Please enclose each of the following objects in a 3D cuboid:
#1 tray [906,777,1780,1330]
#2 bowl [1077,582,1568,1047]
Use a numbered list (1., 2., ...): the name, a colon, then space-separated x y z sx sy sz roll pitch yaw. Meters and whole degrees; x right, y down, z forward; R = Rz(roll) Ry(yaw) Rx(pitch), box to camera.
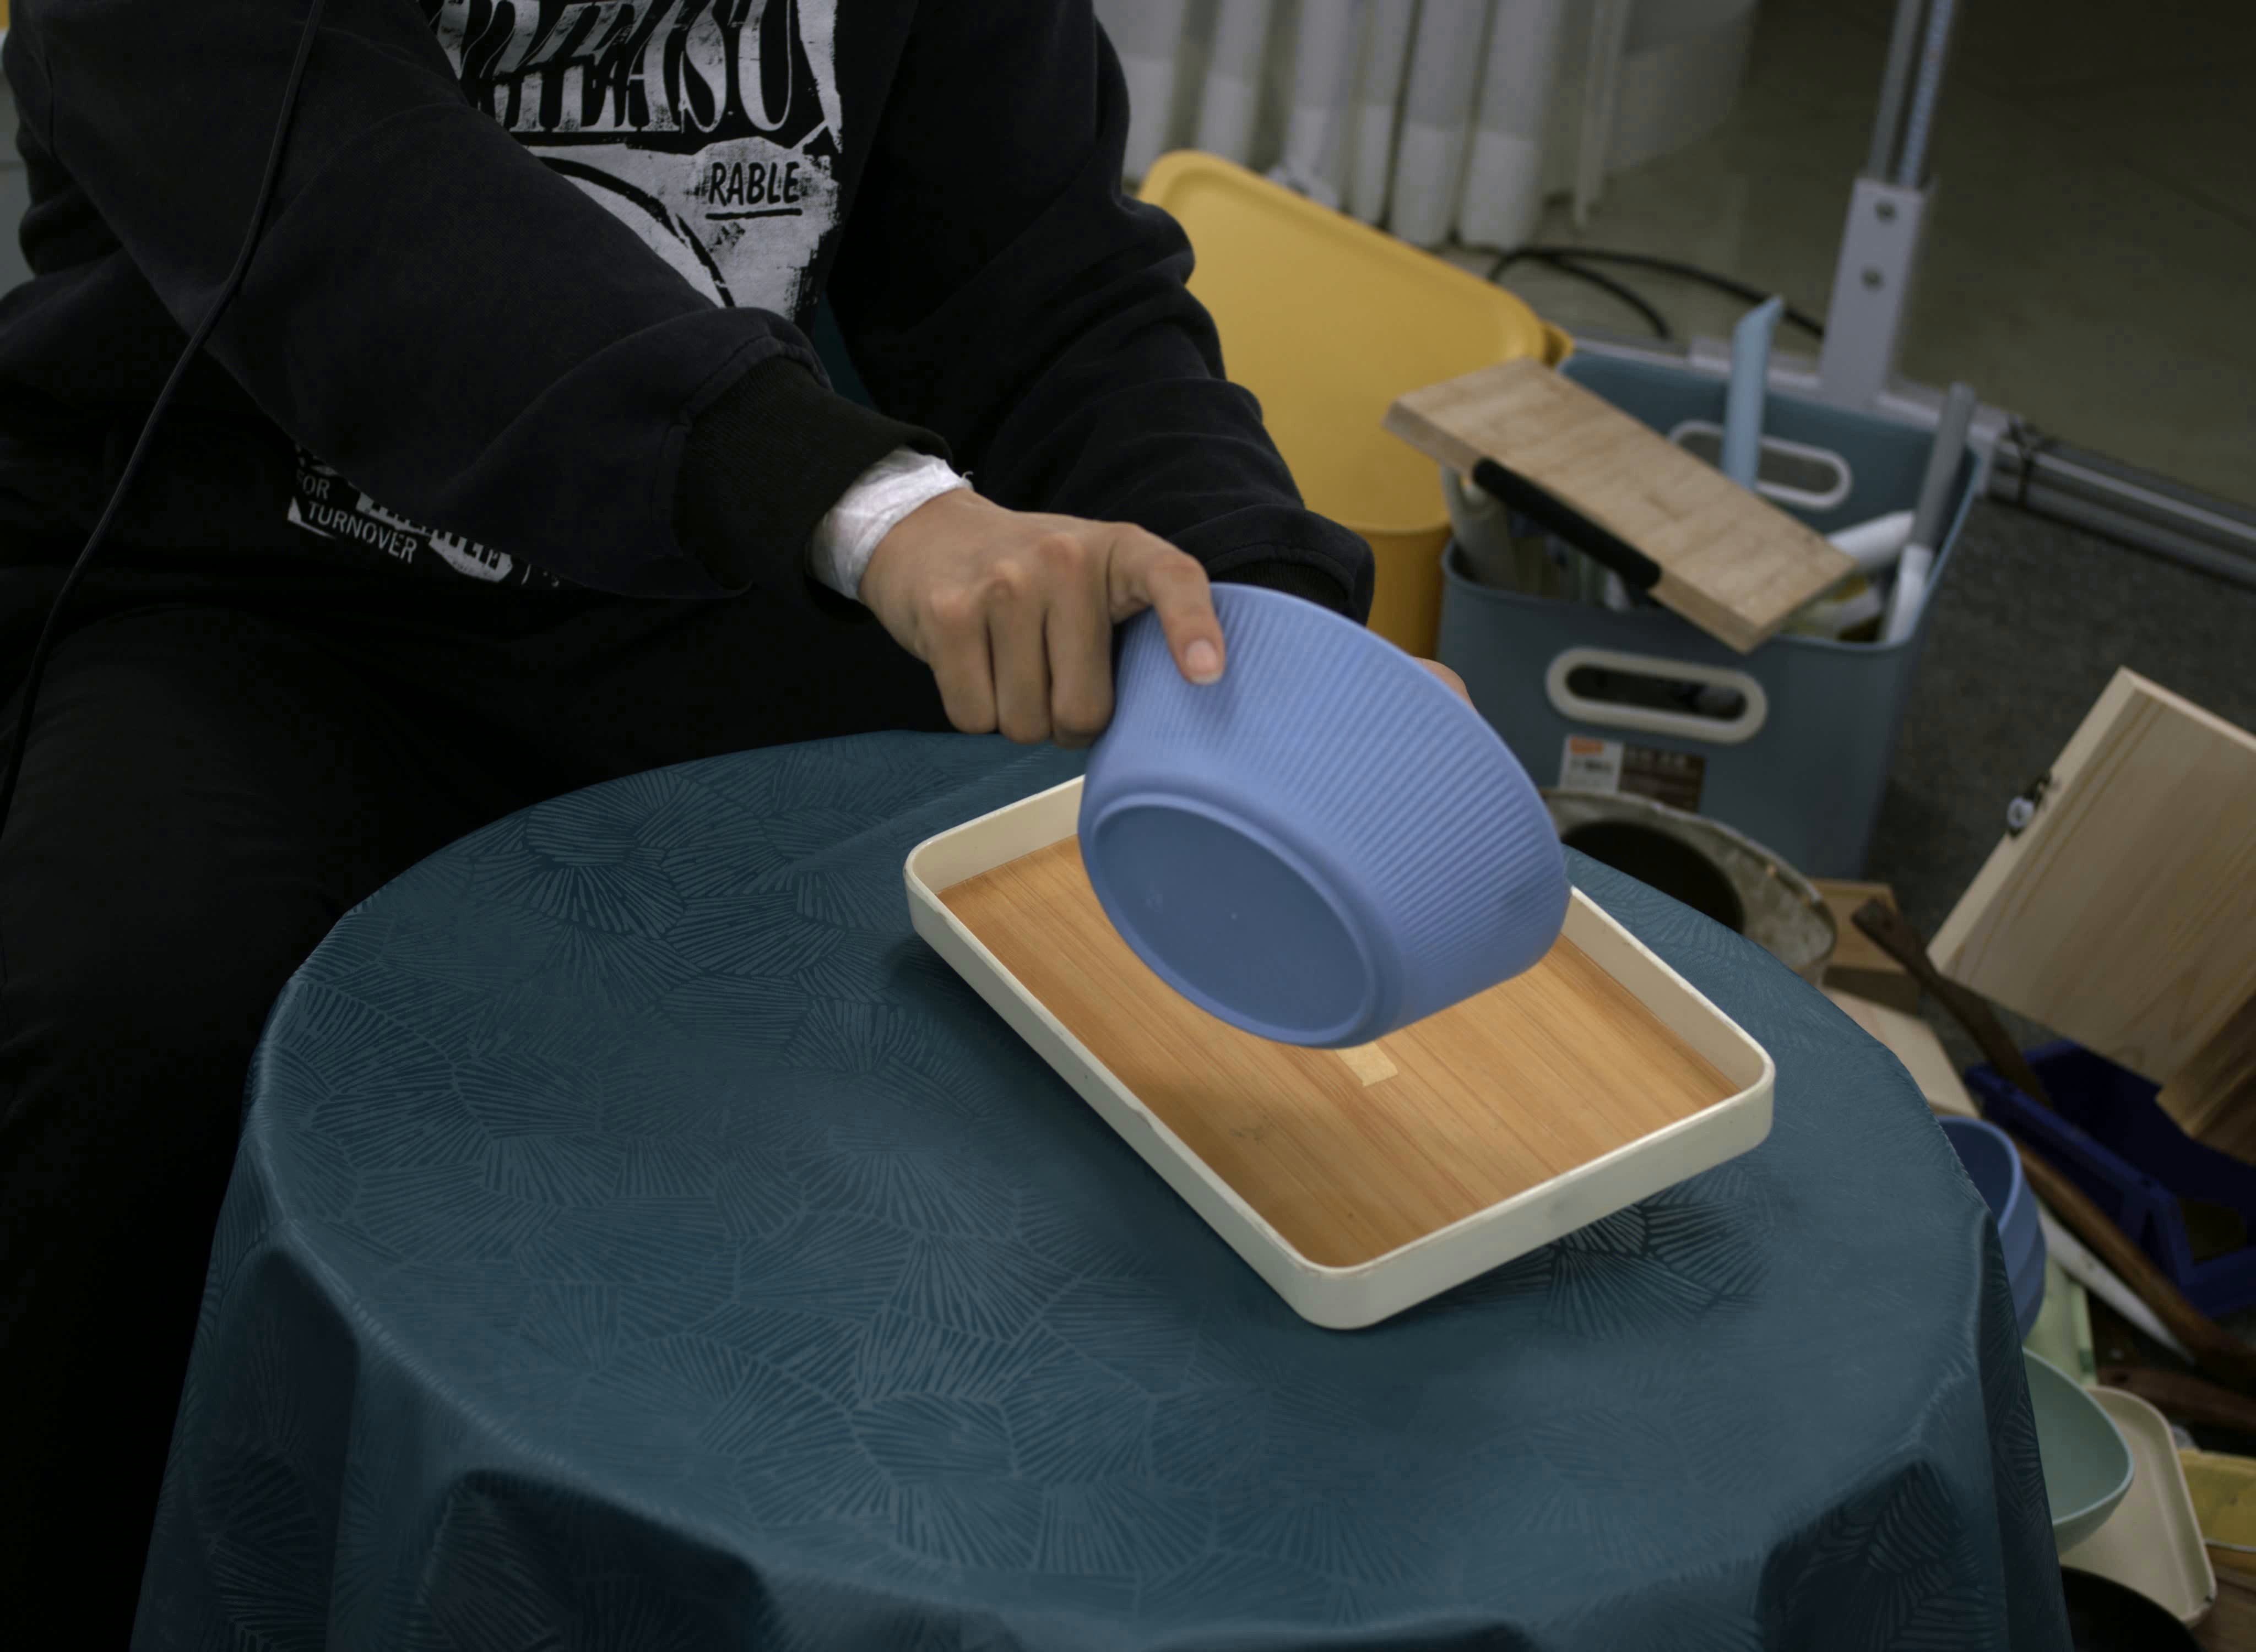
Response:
1. tray: 0.070 0.058 1.864 0.191 0.027 0.303 -23 38 -21
2. bowl: 0.050 0.008 1.715 0.177 0.175 0.070 21 54 26
